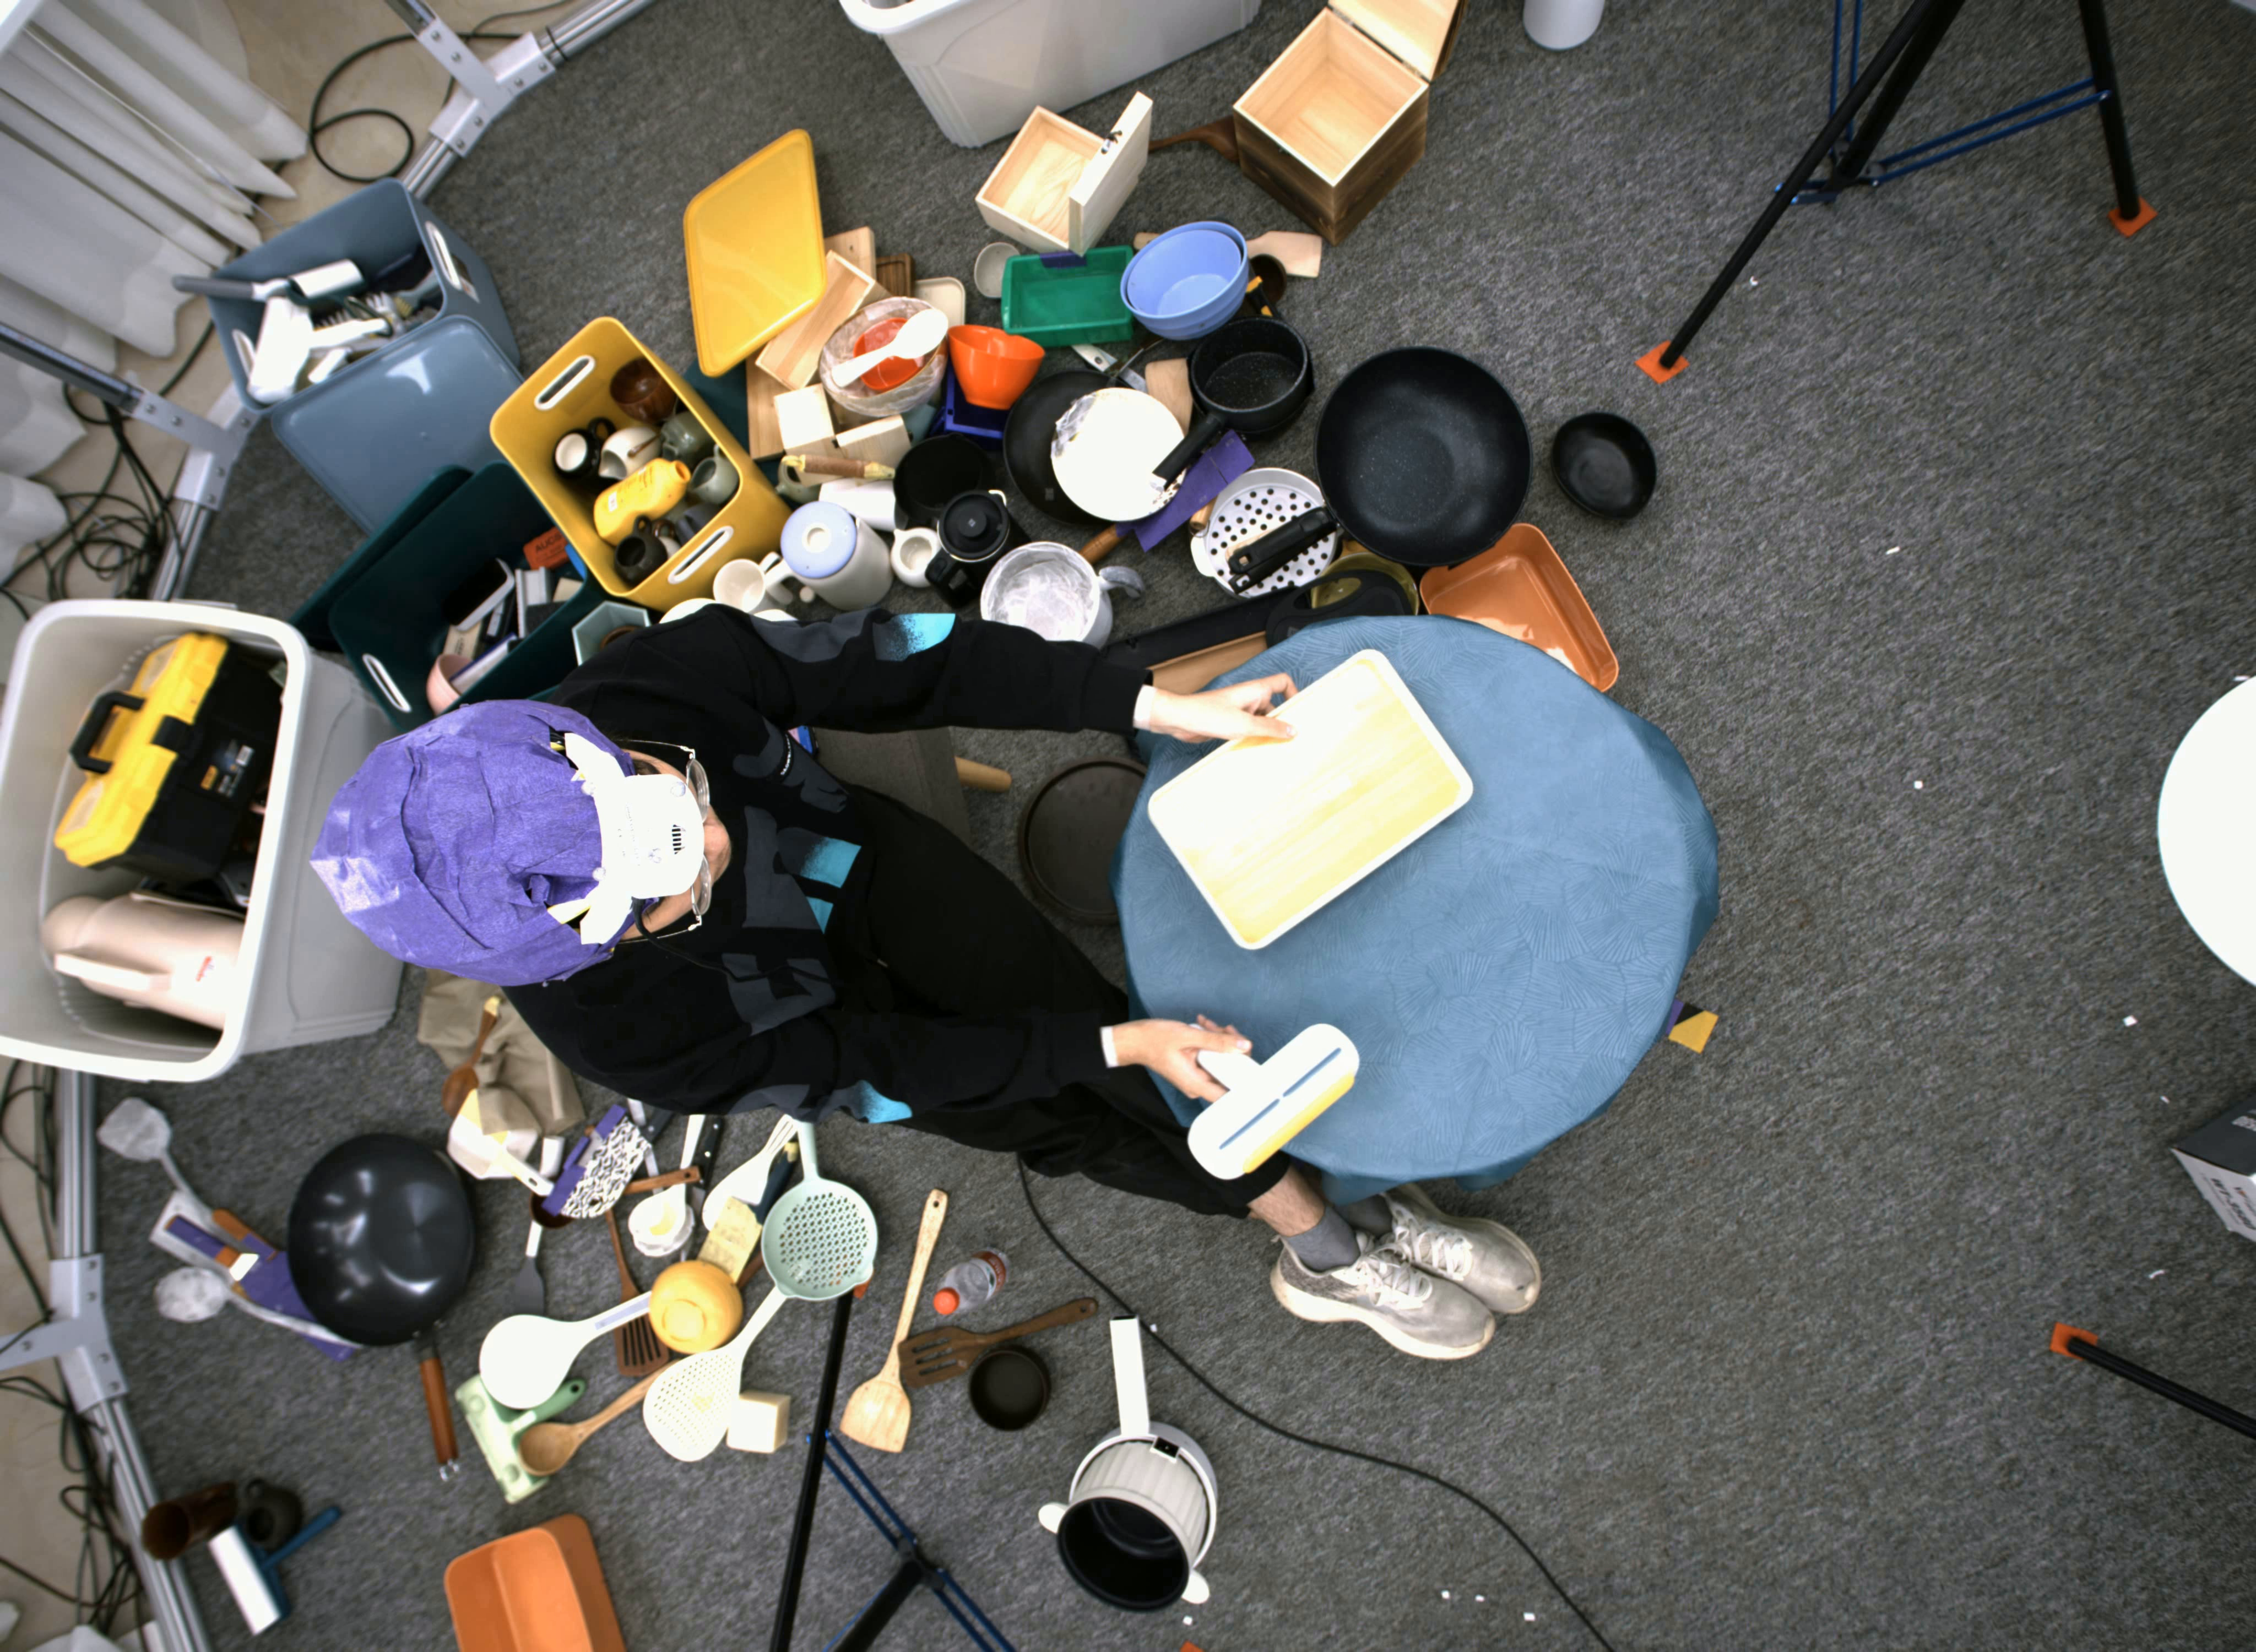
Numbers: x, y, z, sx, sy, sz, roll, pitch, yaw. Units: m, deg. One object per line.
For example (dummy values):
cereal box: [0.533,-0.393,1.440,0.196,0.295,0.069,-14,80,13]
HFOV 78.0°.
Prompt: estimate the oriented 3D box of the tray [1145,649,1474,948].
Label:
tray: [0.186,-0.030,1.413,0.299,0.027,0.191,-34,89,-6]

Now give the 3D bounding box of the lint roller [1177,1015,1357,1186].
lint roller: [0.108,0.247,1.392,0.191,0.075,0.190,-37,49,-11]
